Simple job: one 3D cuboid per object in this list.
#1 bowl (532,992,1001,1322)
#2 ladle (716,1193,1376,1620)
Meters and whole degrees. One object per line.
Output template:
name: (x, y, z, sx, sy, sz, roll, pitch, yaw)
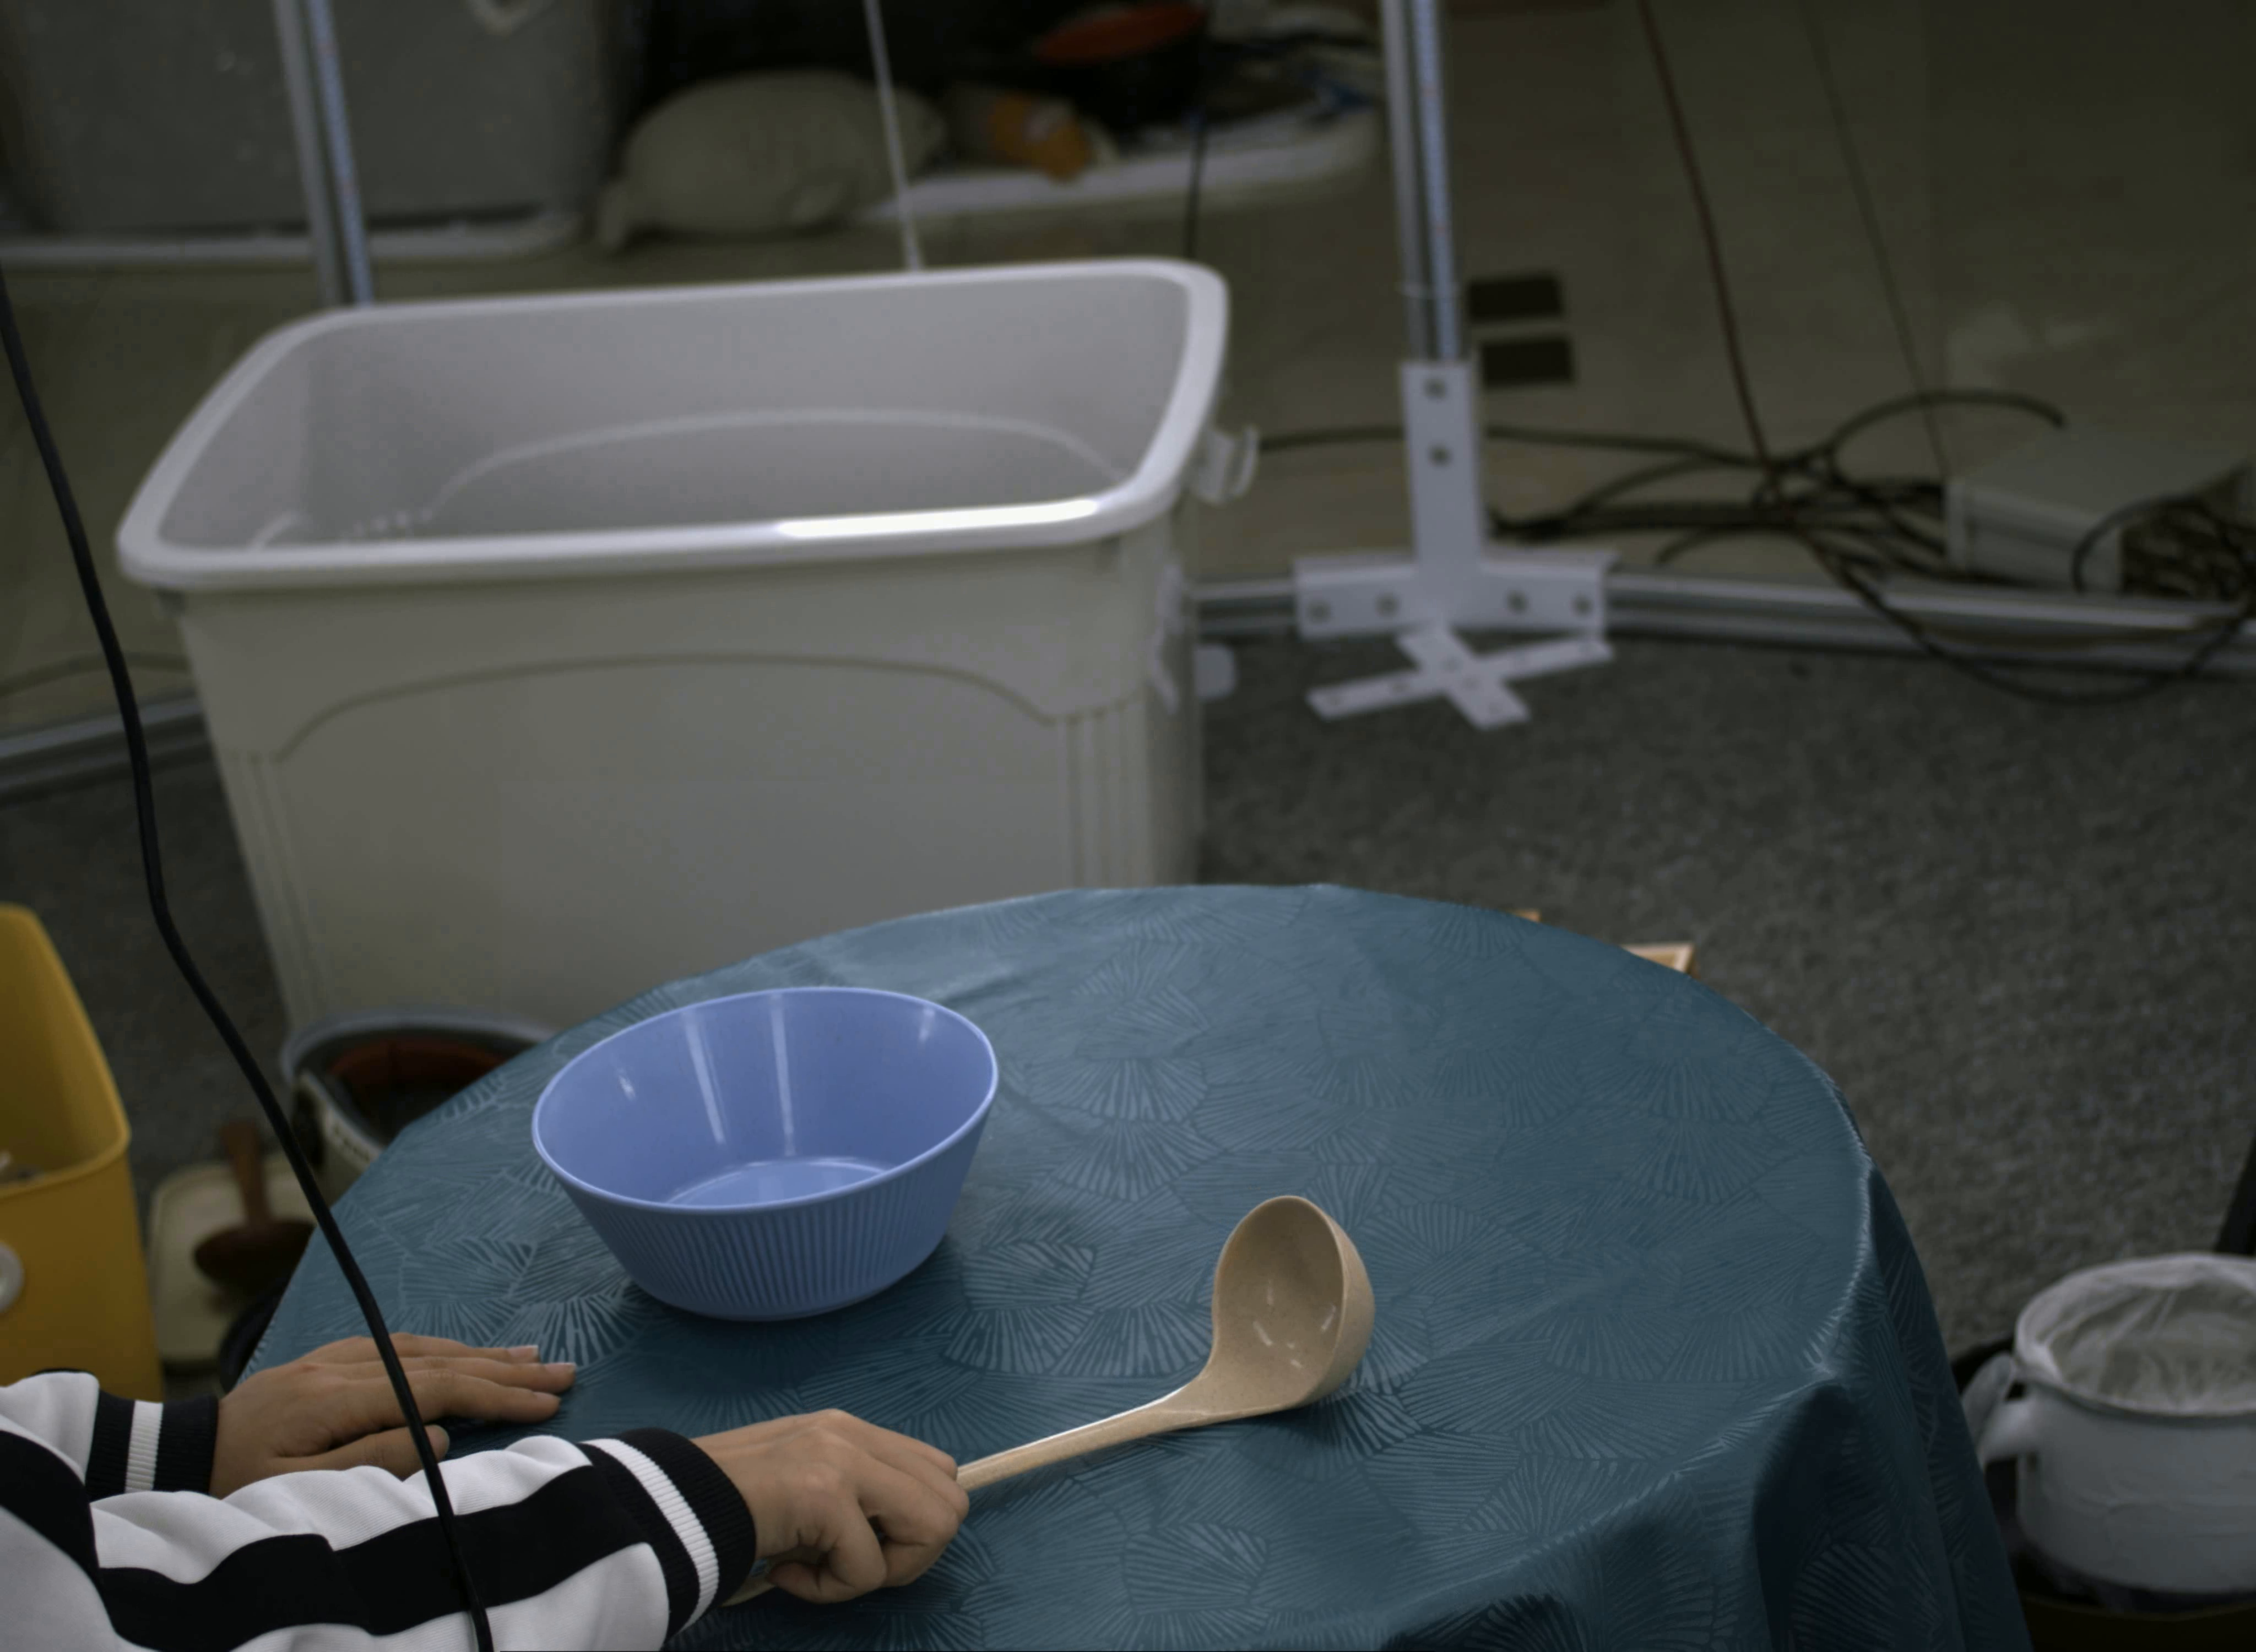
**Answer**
bowl: (-0.131, 0.129, 2.117, 0.176, 0.071, 0.173, -6, 24, 3)
ladle: (-0.030, 0.197, 1.946, 0.253, 0.074, 0.071, -20, 39, -25)
